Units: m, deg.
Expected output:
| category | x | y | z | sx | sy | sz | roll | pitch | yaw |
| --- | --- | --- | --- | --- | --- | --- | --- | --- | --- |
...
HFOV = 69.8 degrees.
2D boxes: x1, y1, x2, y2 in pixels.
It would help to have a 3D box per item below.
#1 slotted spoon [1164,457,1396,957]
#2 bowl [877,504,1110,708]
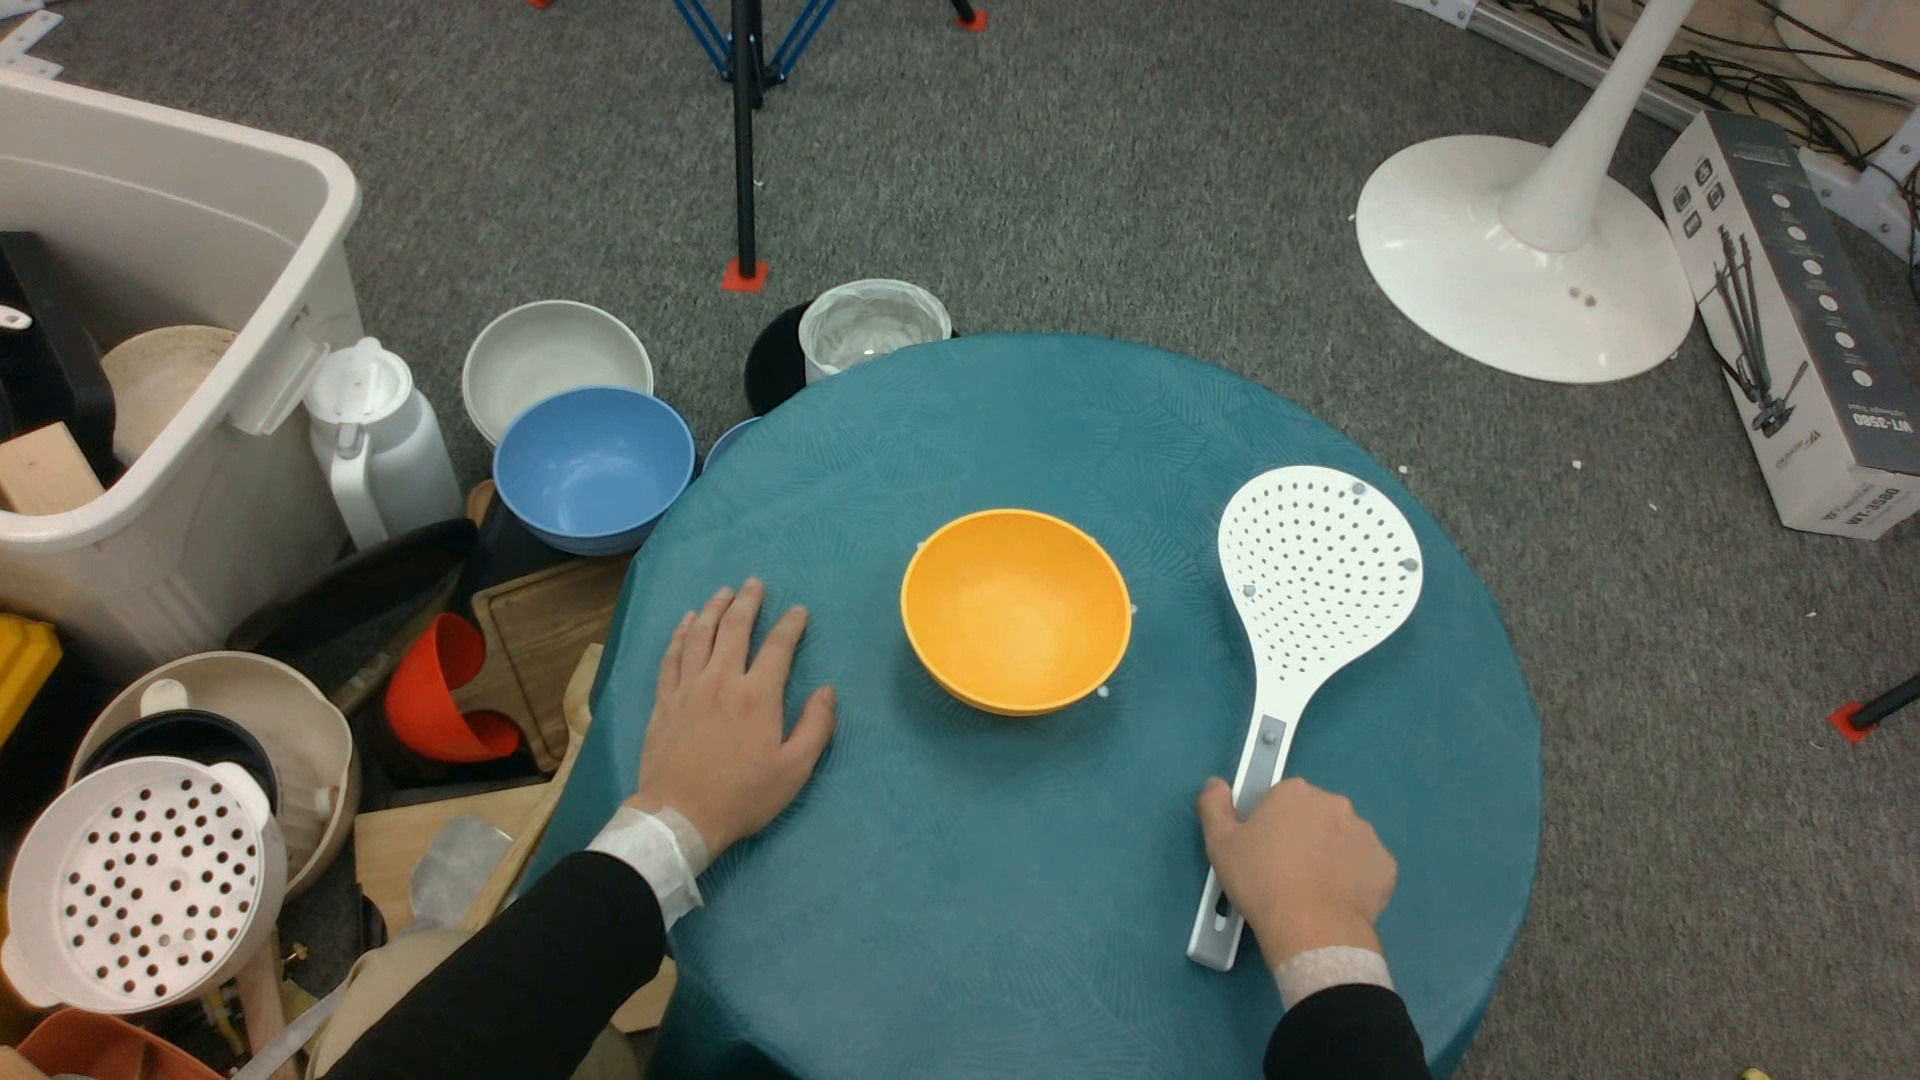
| category | x | y | z | sx | sy | sz | roll | pitch | yaw |
| --- | --- | --- | --- | --- | --- | --- | --- | --- | --- |
| slotted spoon | 0.189 | 0.094 | 0.873 | 0.136 | 0.045 | 0.351 | 20 | 57 | 4 |
| bowl | 0.019 | 0.051 | 0.871 | 0.145 | 0.060 | 0.146 | 3 | 55 | -4 |
